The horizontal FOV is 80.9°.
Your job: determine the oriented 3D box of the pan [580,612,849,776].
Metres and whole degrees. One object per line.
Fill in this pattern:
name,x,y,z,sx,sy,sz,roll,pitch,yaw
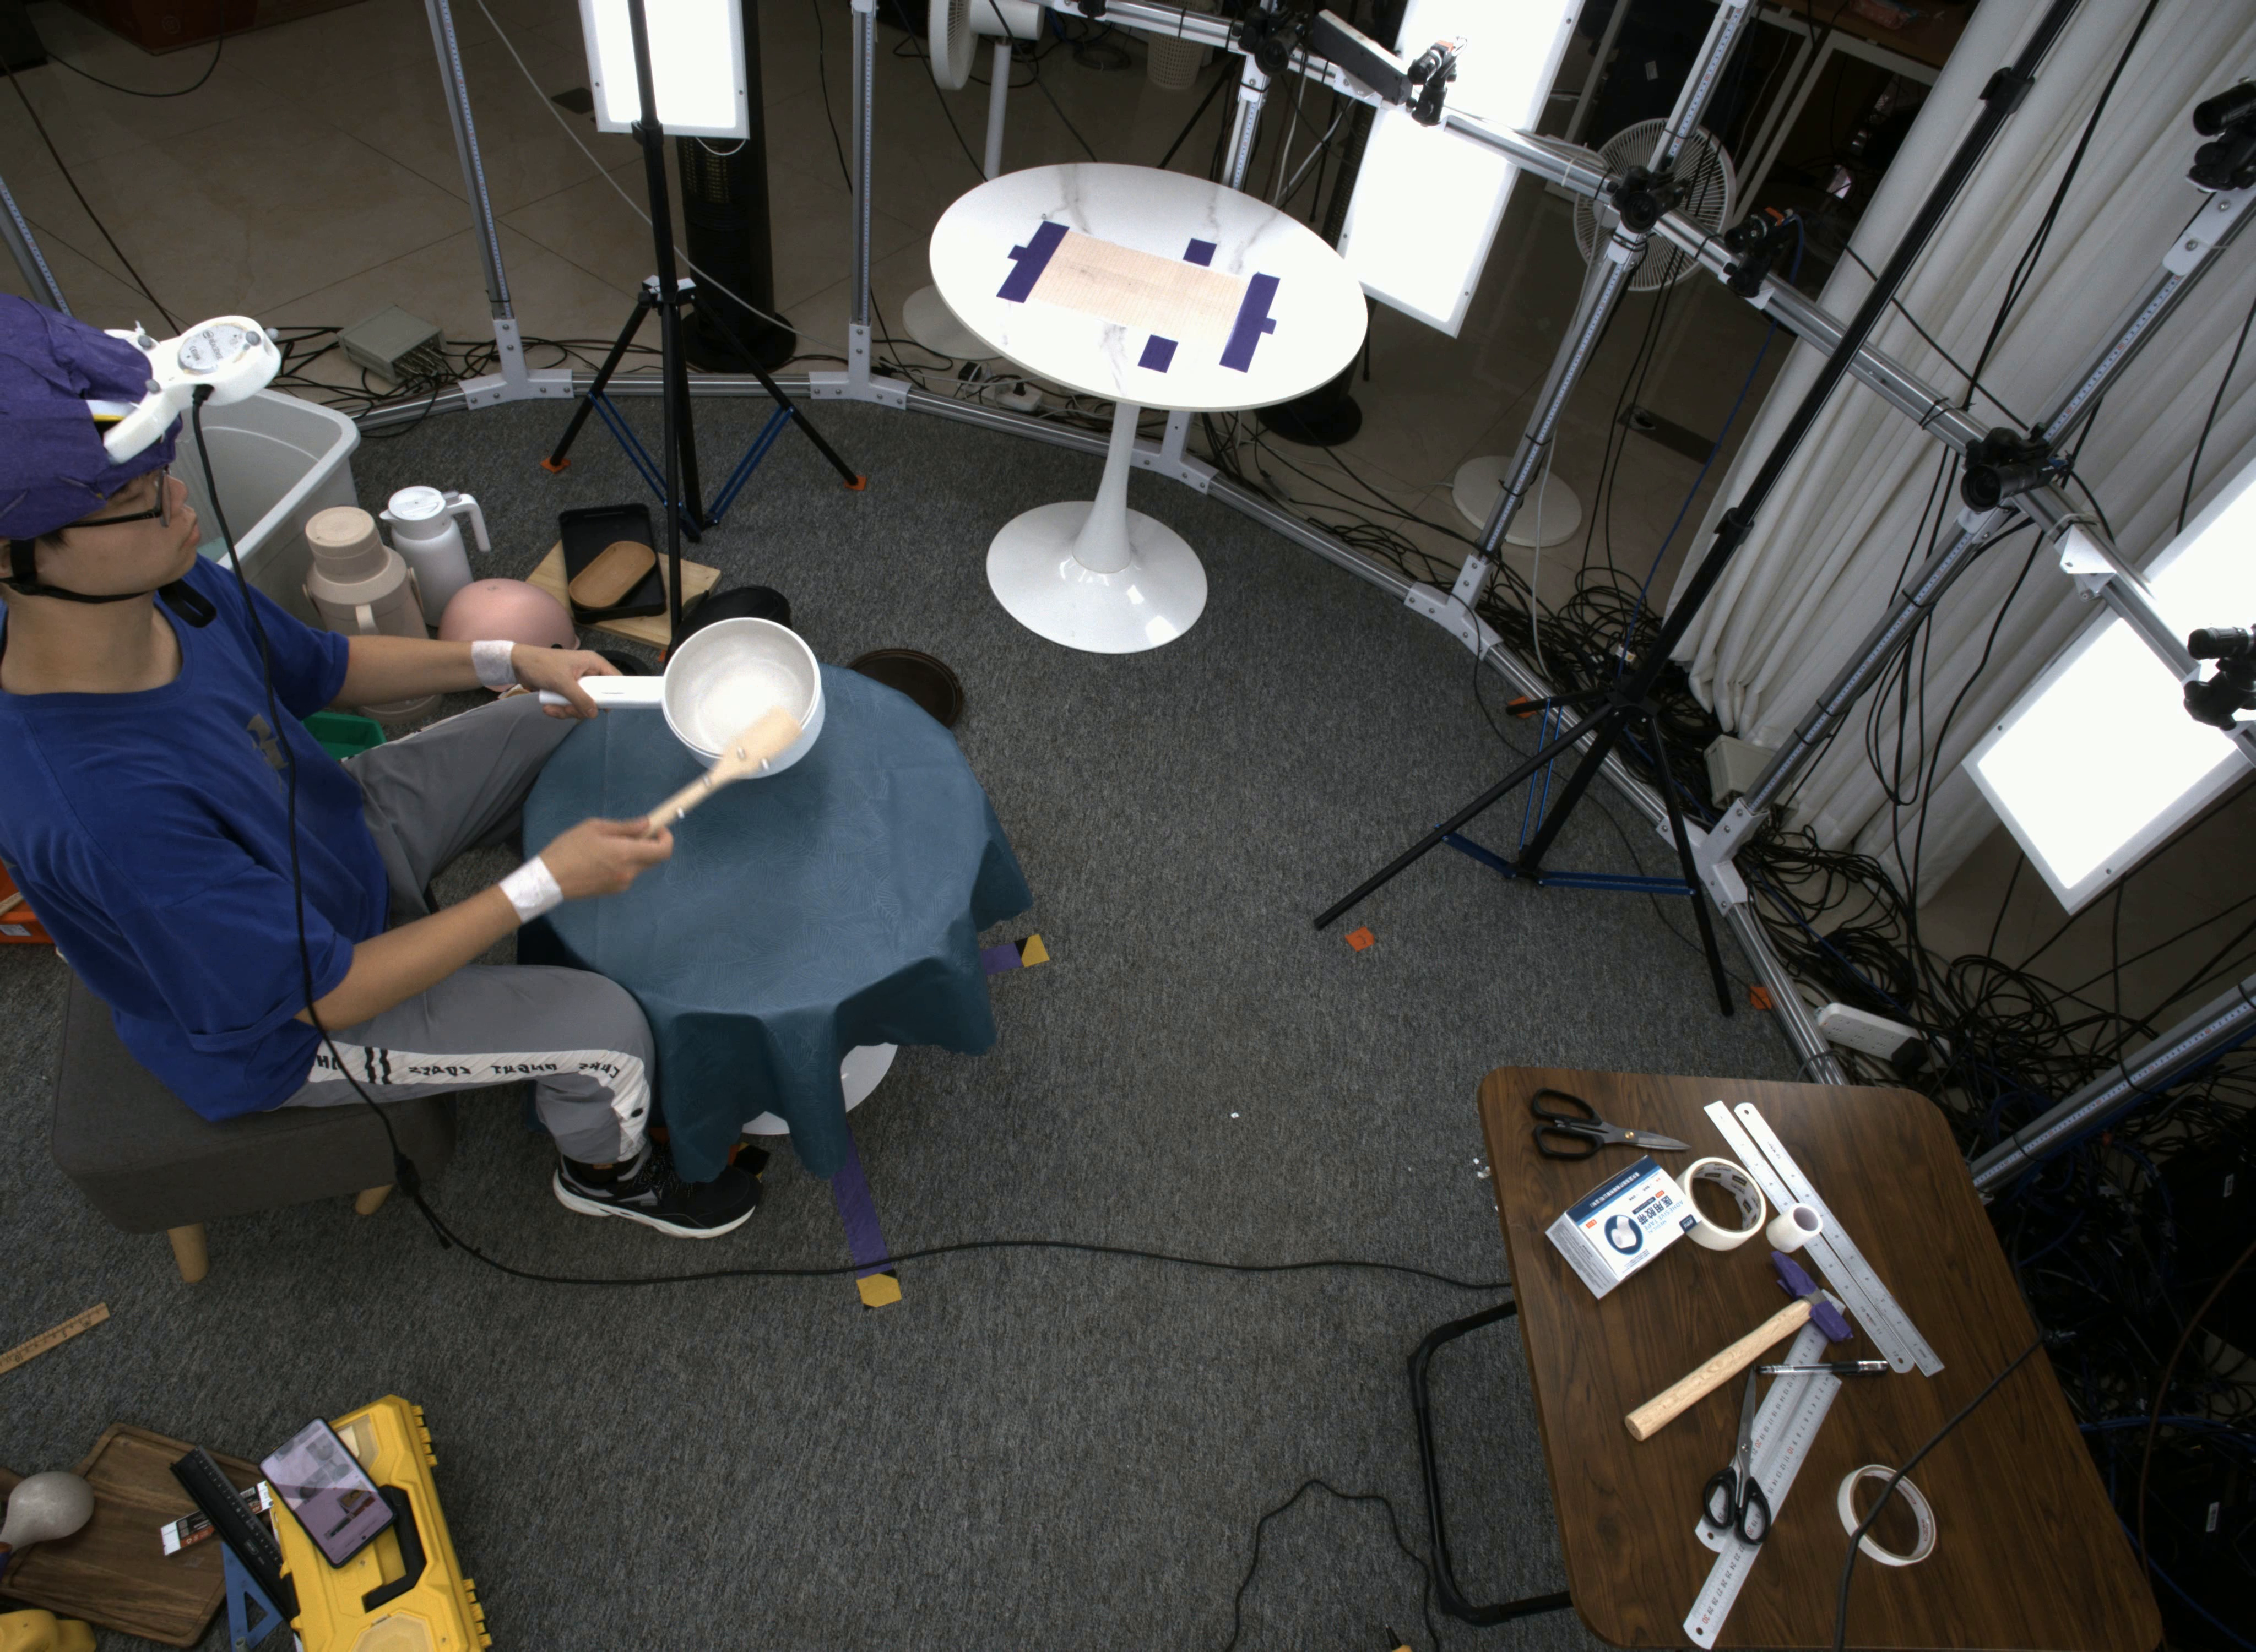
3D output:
pan,-0.543,-0.168,1.689,0.353,0.103,0.200,1,73,-6

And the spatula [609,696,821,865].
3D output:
spatula,-0.488,-0.051,1.511,0.293,0.011,0.069,-40,53,-15
